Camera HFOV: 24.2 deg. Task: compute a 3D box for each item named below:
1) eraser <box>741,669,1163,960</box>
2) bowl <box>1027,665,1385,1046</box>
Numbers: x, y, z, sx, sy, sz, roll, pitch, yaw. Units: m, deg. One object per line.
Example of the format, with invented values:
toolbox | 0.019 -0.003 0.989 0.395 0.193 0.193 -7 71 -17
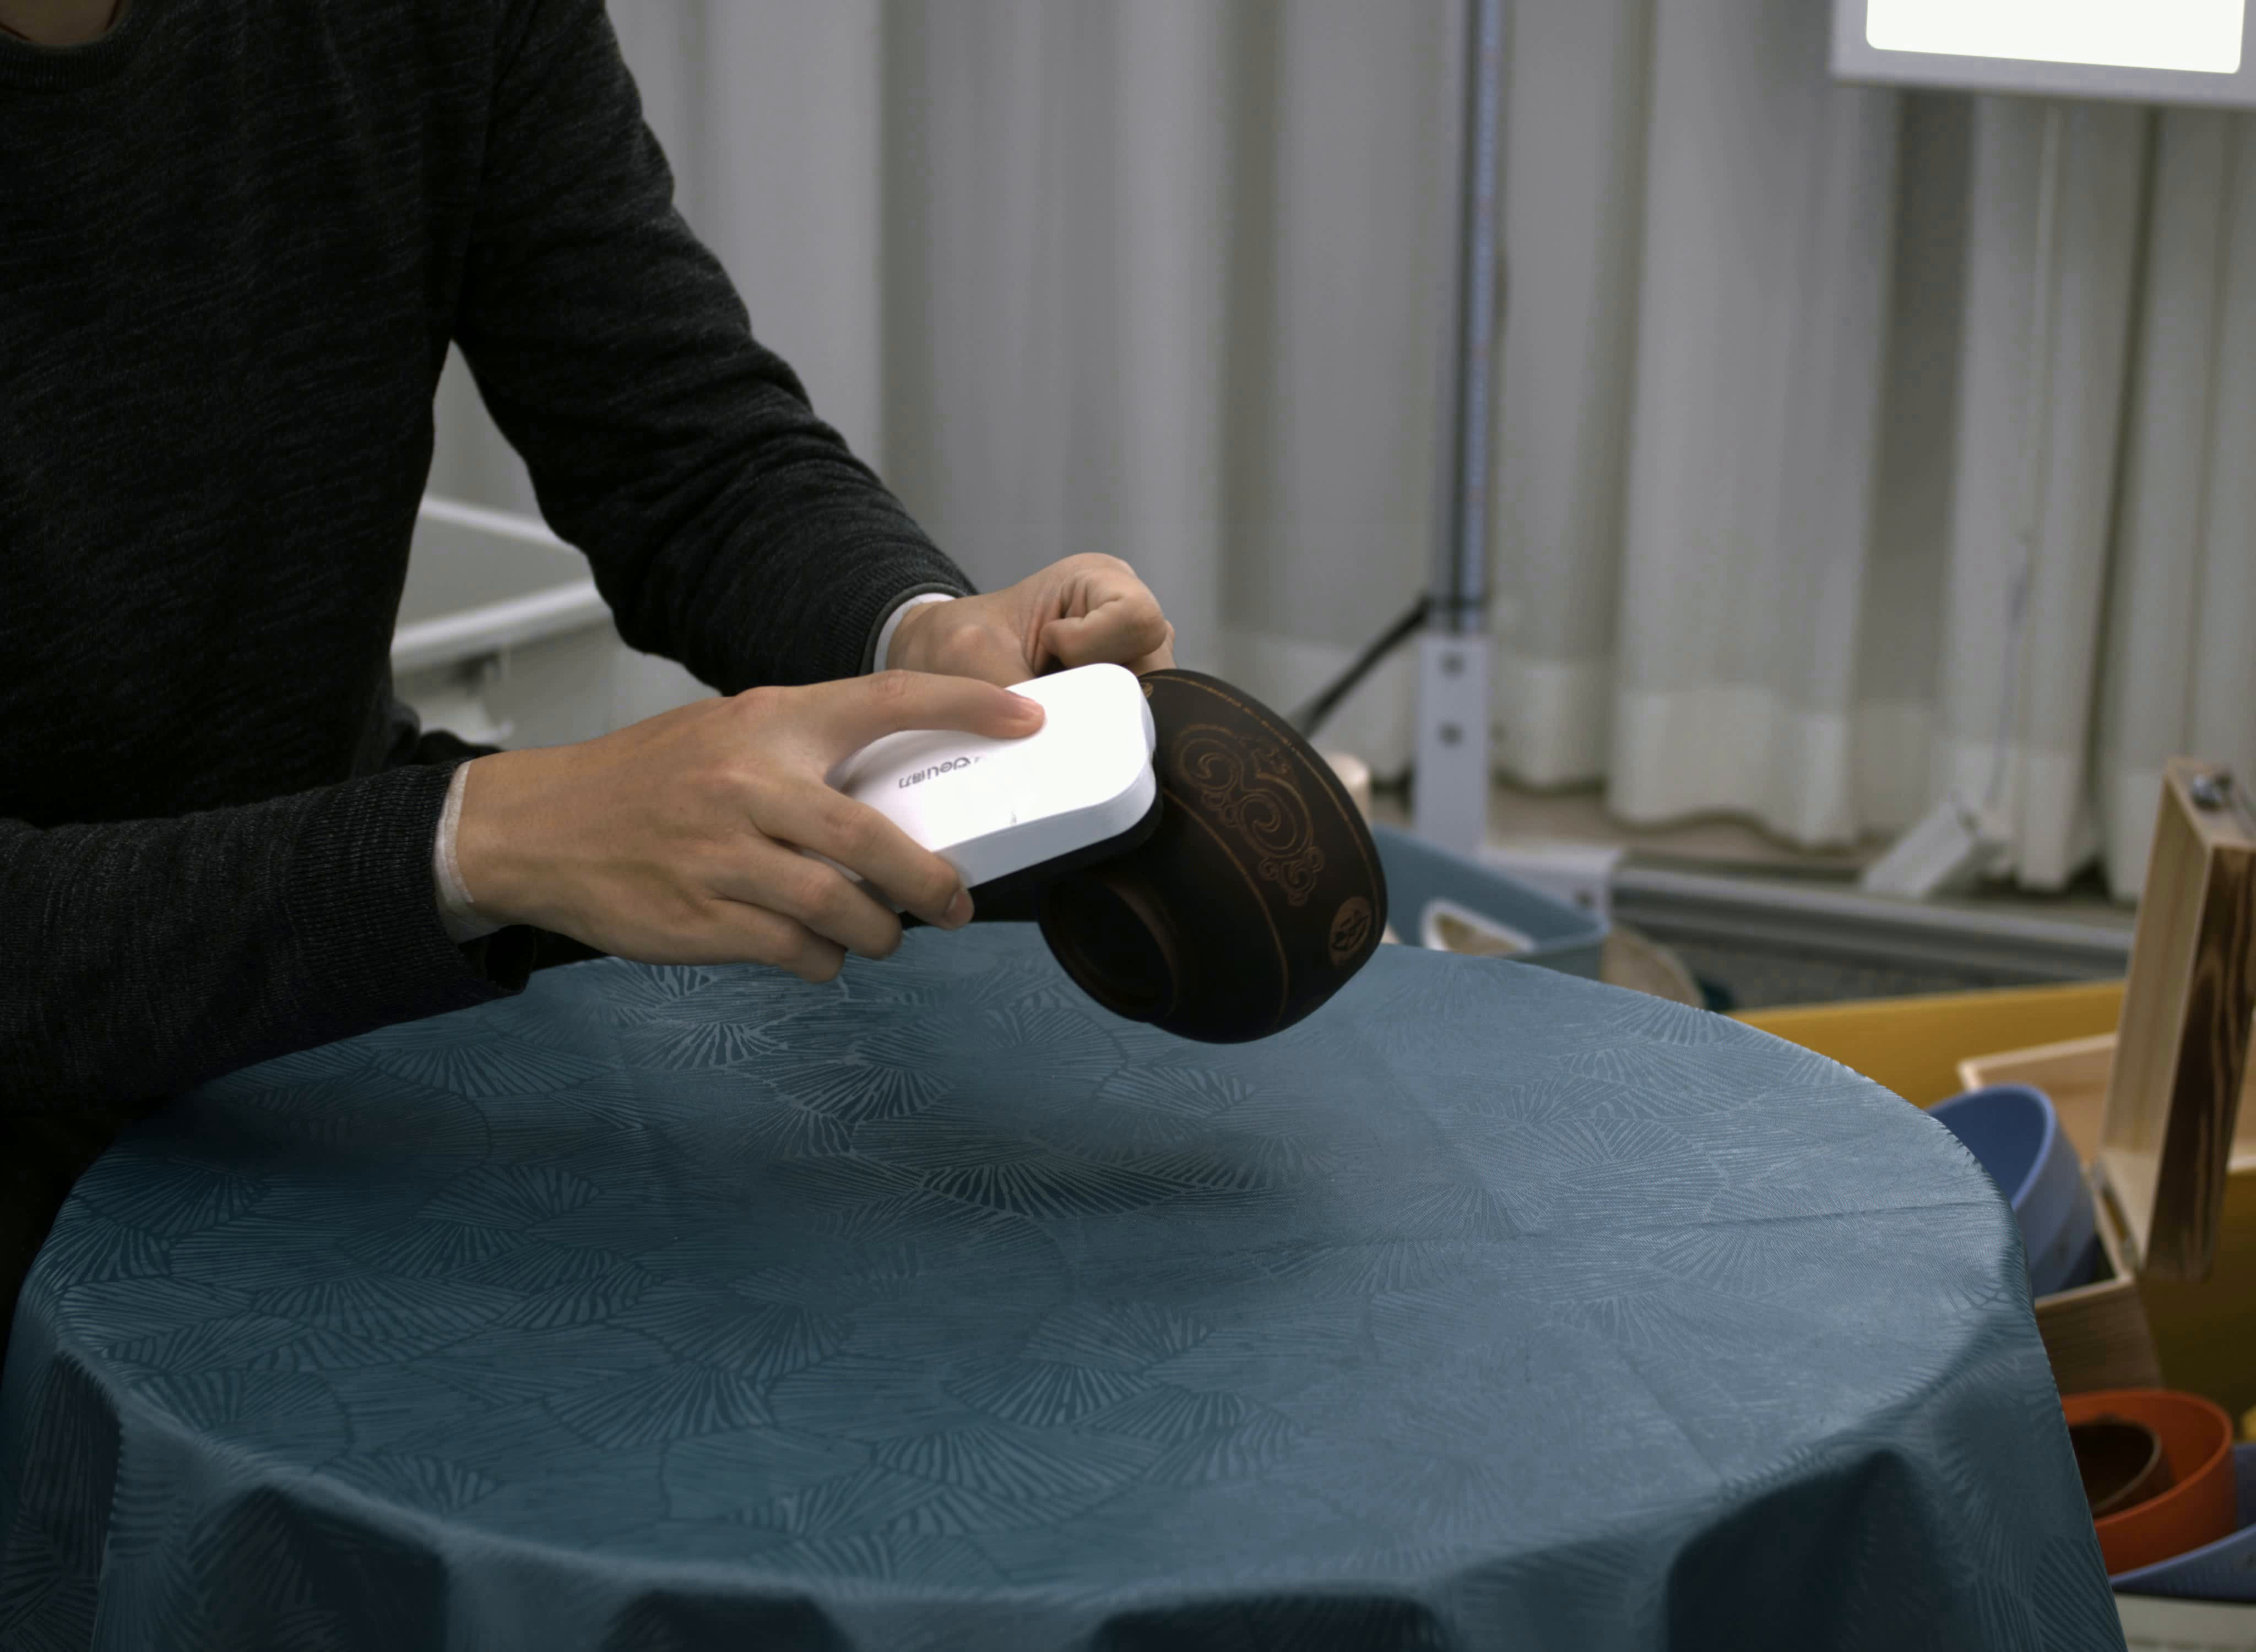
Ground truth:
eraser | -0.053 -0.006 1.559 0.130 0.035 0.063 -18 41 15
bowl | 0.014 0.017 1.603 0.116 0.119 0.070 16 47 42
